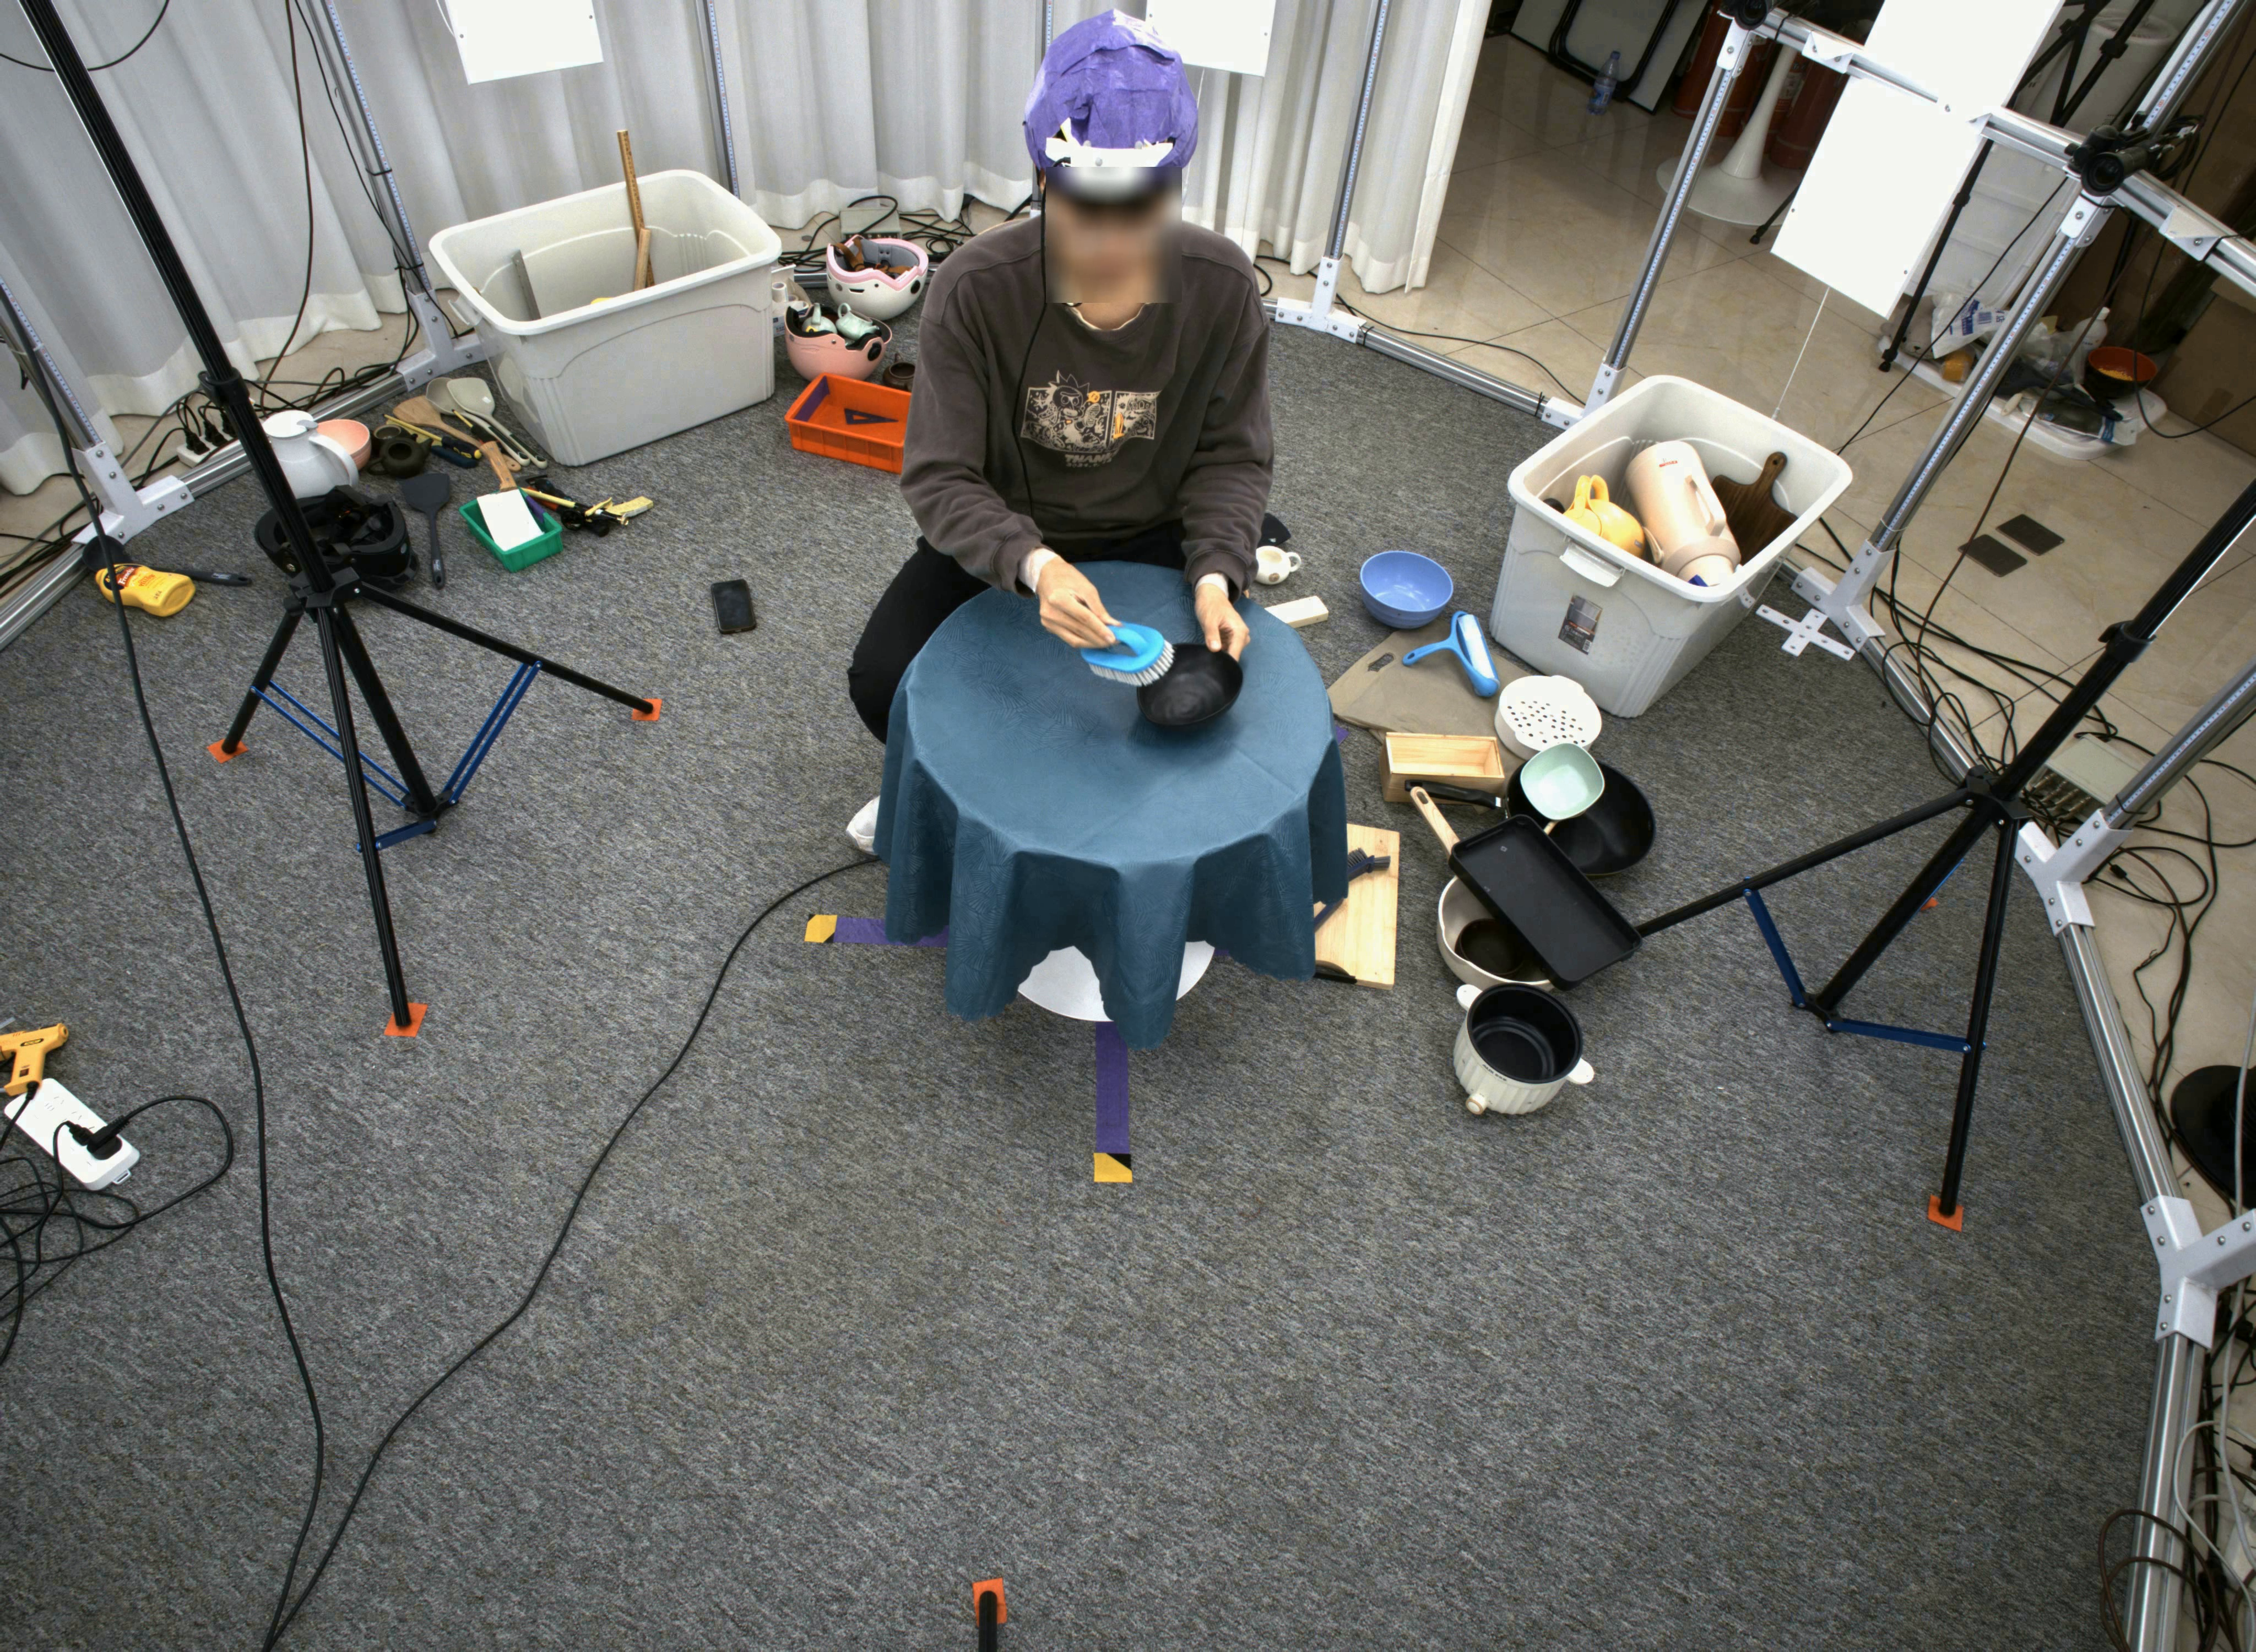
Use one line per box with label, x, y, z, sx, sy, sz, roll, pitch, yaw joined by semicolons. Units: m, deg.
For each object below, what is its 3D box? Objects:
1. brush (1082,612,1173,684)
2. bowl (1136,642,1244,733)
brush;-0.011;-0.247;1.704;0.144;0.062;0.085;23;74;45
bowl;0.085;-0.181;1.788;0.139;0.065;0.172;30;55;22
